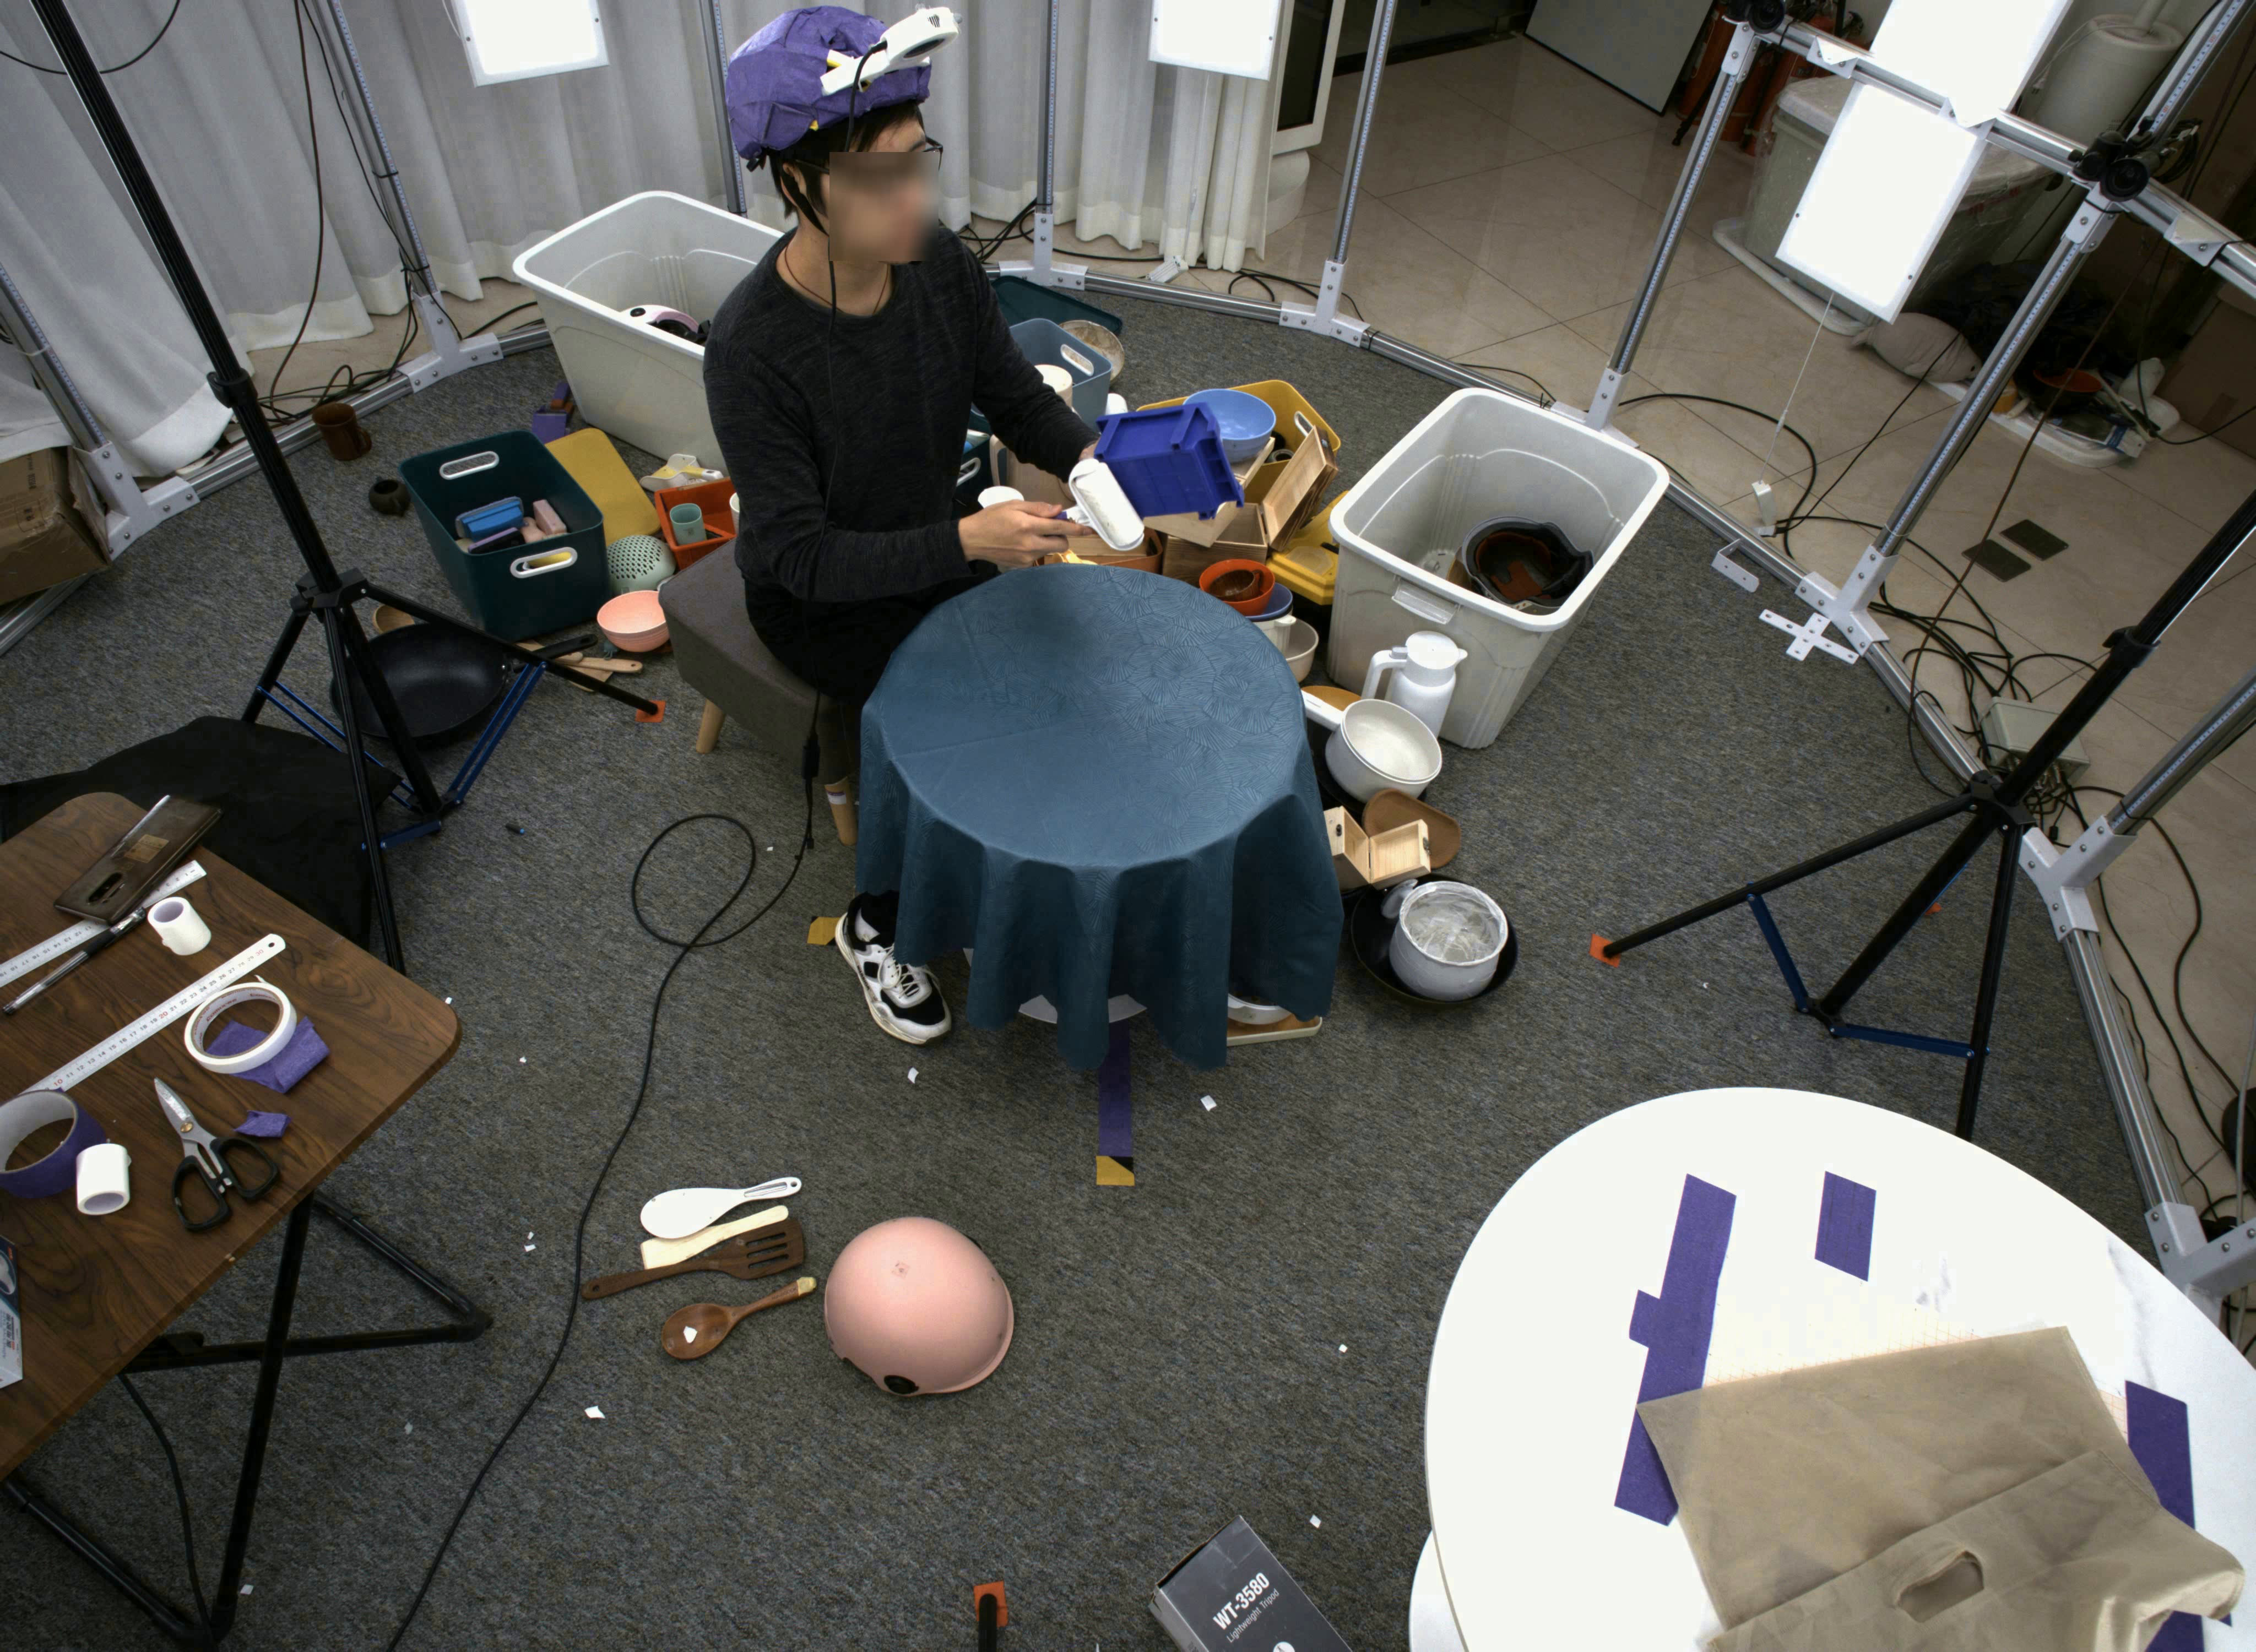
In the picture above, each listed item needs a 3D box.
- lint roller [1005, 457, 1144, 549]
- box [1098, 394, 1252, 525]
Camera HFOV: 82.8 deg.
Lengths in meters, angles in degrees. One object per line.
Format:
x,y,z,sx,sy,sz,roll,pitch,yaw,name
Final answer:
-0.082,-0.387,1.642,0.180,0.130,0.051,-19,43,20,lint roller
0.059,-0.456,1.621,0.180,0.121,0.083,-3,49,27,box
